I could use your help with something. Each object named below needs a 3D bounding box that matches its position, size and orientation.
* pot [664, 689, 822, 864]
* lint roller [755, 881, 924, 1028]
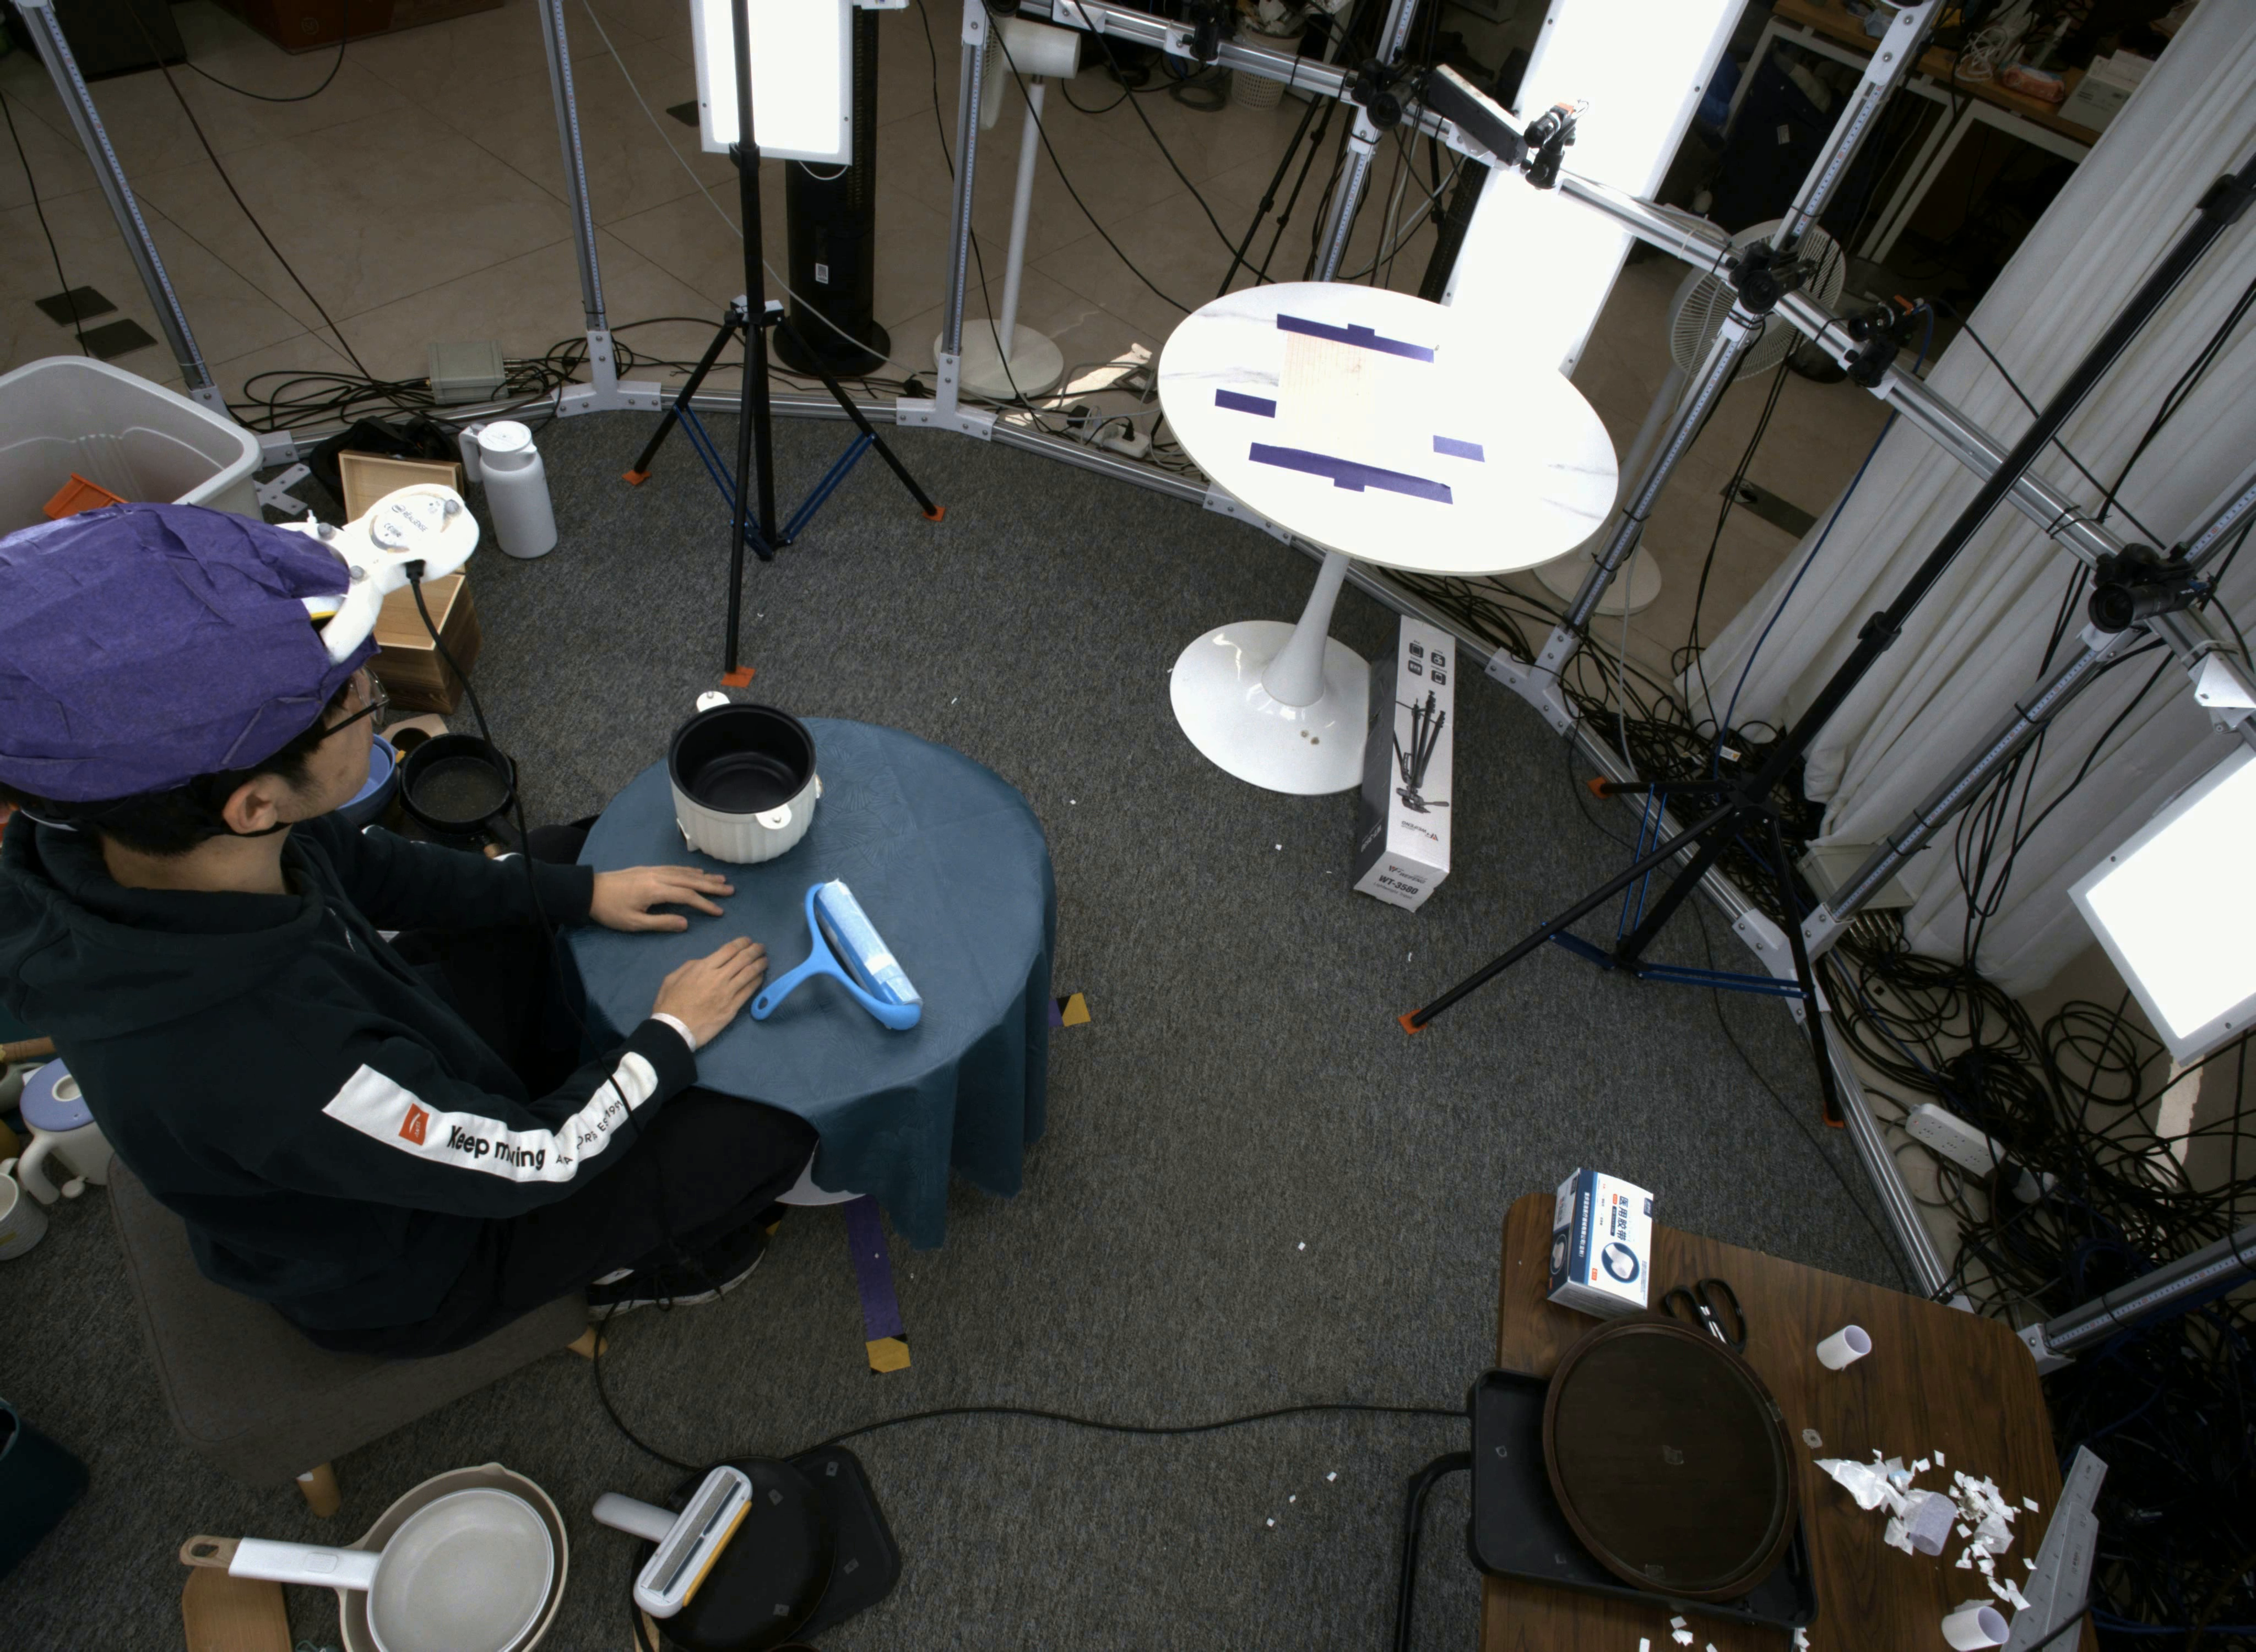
[{"bbox_3d":[-0.490,-0.053,1.662,0.191,0.145,0.235,-25,64,-25],"label":"pot"},{"bbox_3d":[-0.370,0.178,1.577,0.181,0.069,0.224,-28,67,-32],"label":"lint roller"}]
